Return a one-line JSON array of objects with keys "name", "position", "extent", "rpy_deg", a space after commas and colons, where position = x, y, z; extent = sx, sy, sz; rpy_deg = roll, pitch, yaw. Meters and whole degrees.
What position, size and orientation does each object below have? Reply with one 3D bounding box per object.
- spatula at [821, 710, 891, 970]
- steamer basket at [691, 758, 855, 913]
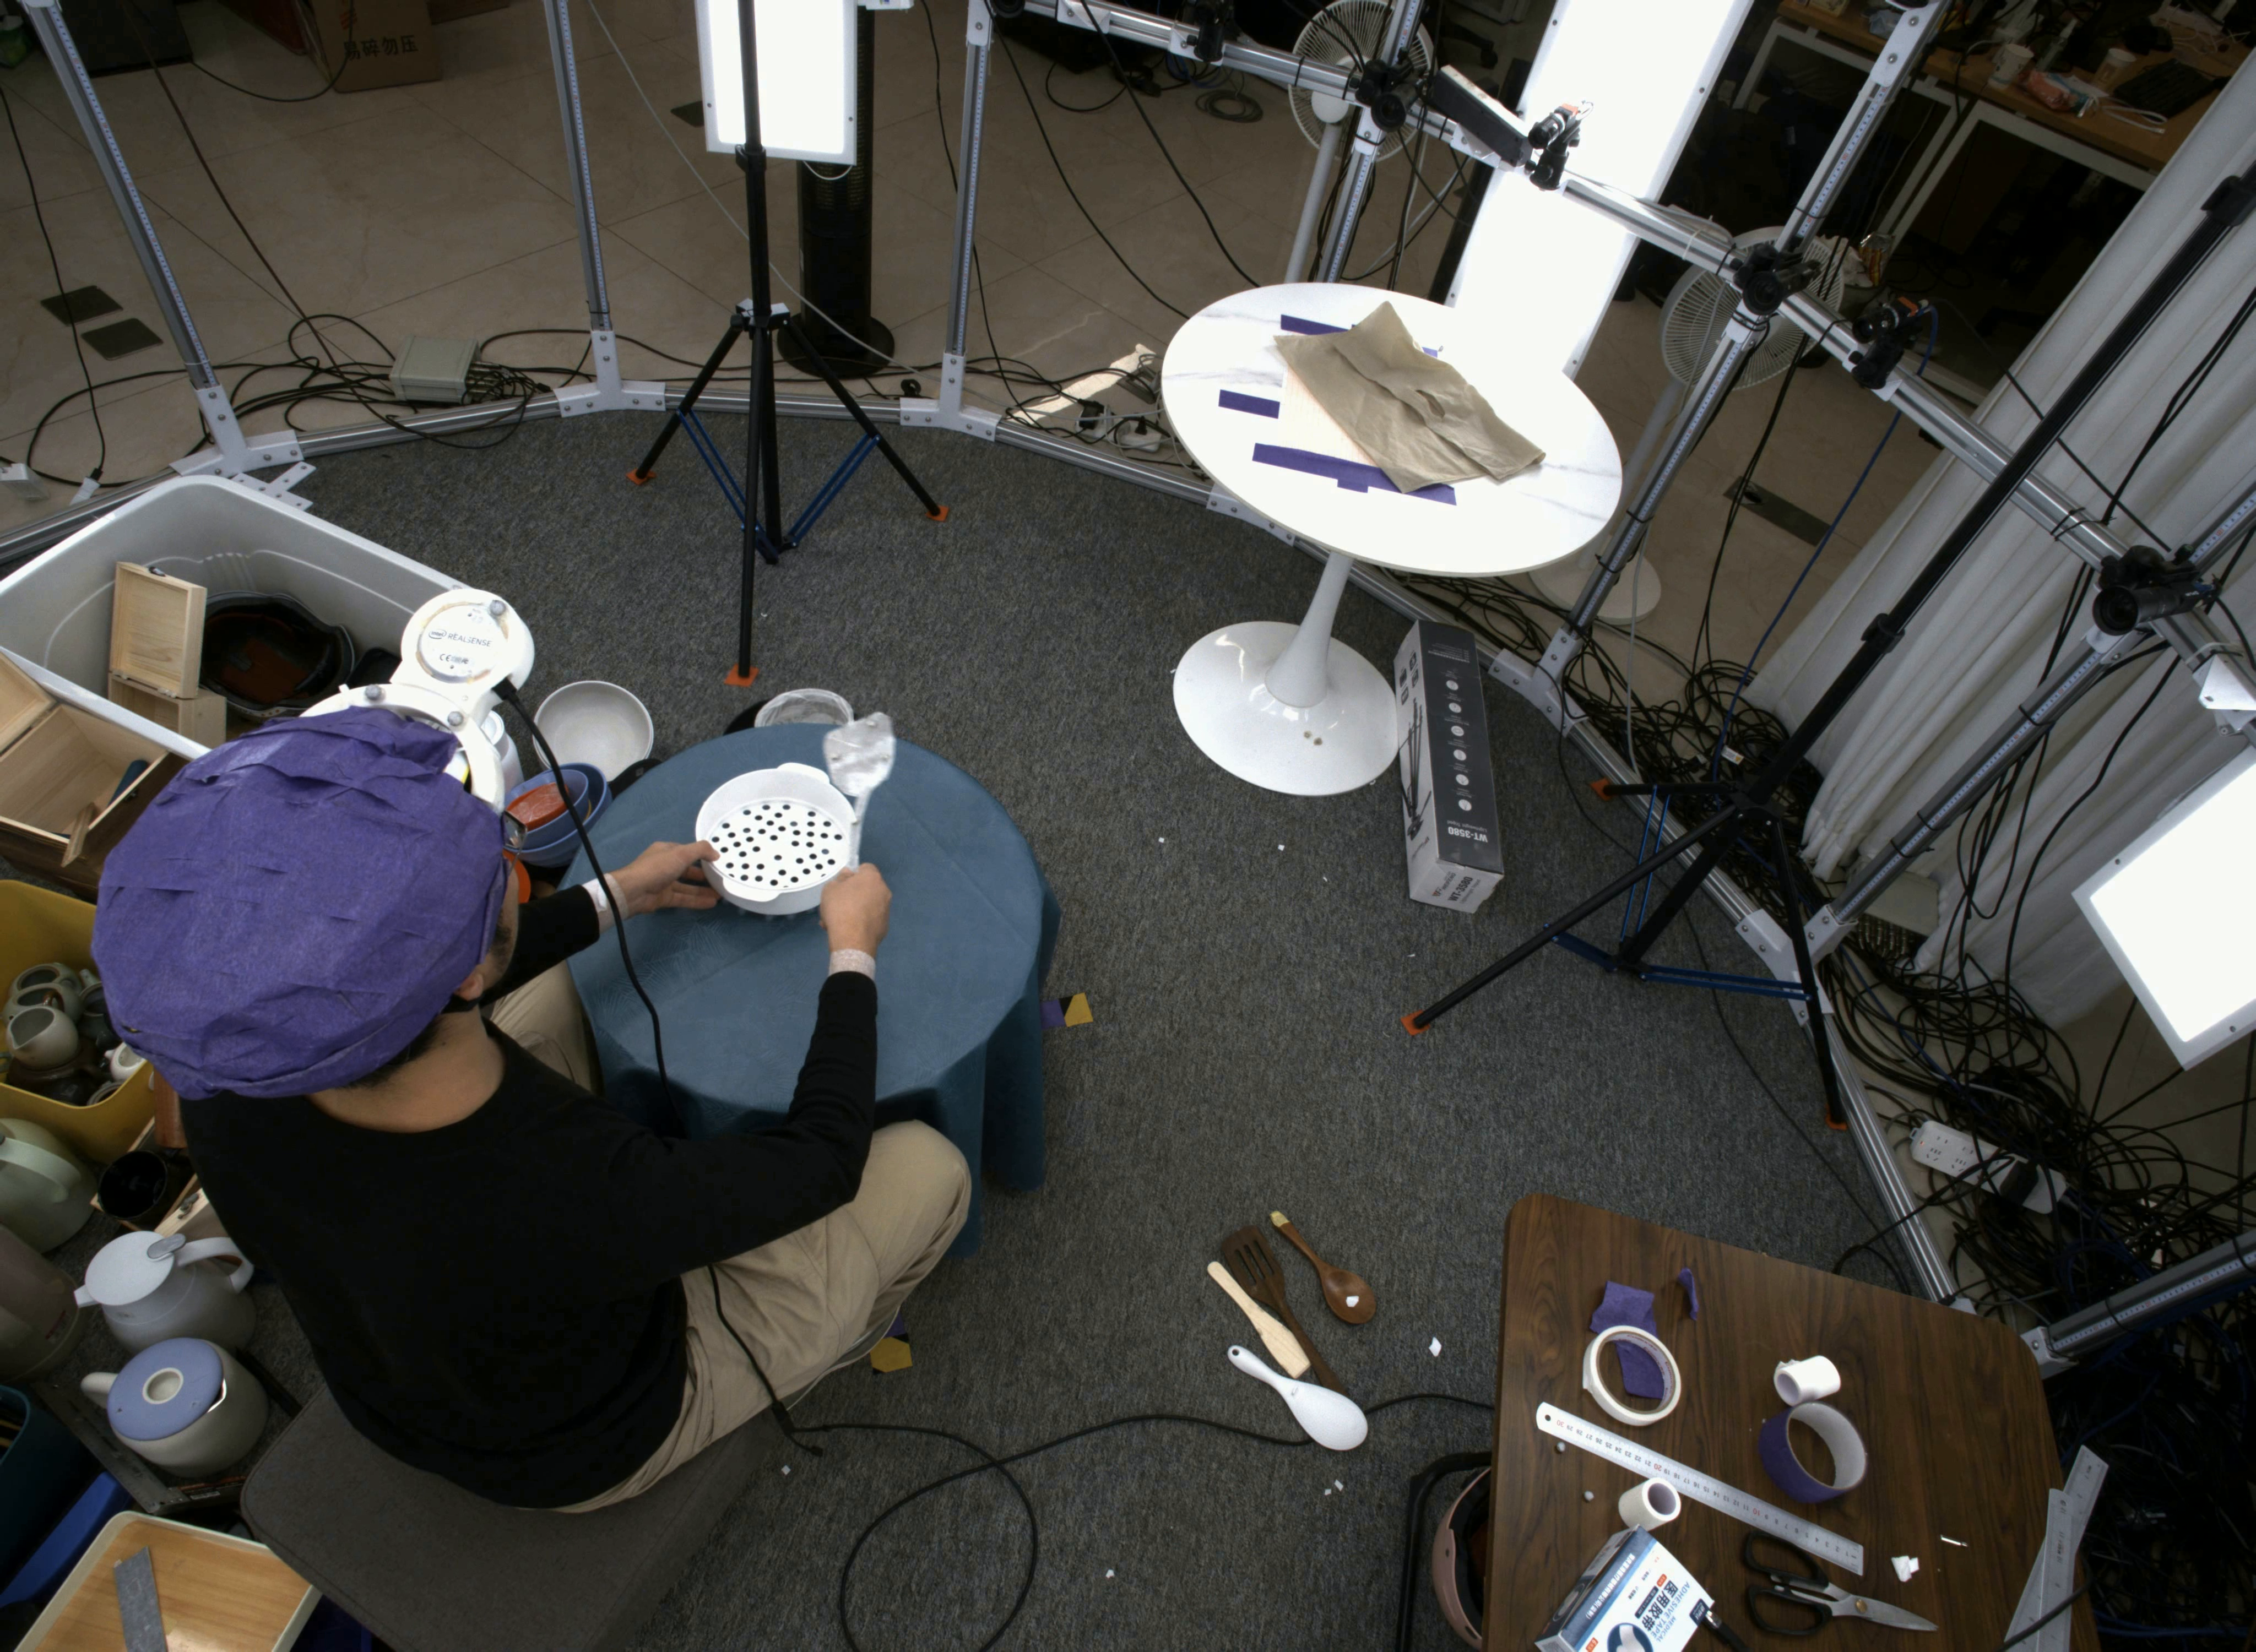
[{"name": "spatula", "position": [-0.328, 0.007, 1.528], "extent": [0.097, 0.046, 0.357], "rpy_deg": [-17, 47, 14]}, {"name": "steamer basket", "position": [-0.451, 0.017, 1.651], "extent": [0.201, 0.070, 0.227], "rpy_deg": [15, 50, -3]}]
